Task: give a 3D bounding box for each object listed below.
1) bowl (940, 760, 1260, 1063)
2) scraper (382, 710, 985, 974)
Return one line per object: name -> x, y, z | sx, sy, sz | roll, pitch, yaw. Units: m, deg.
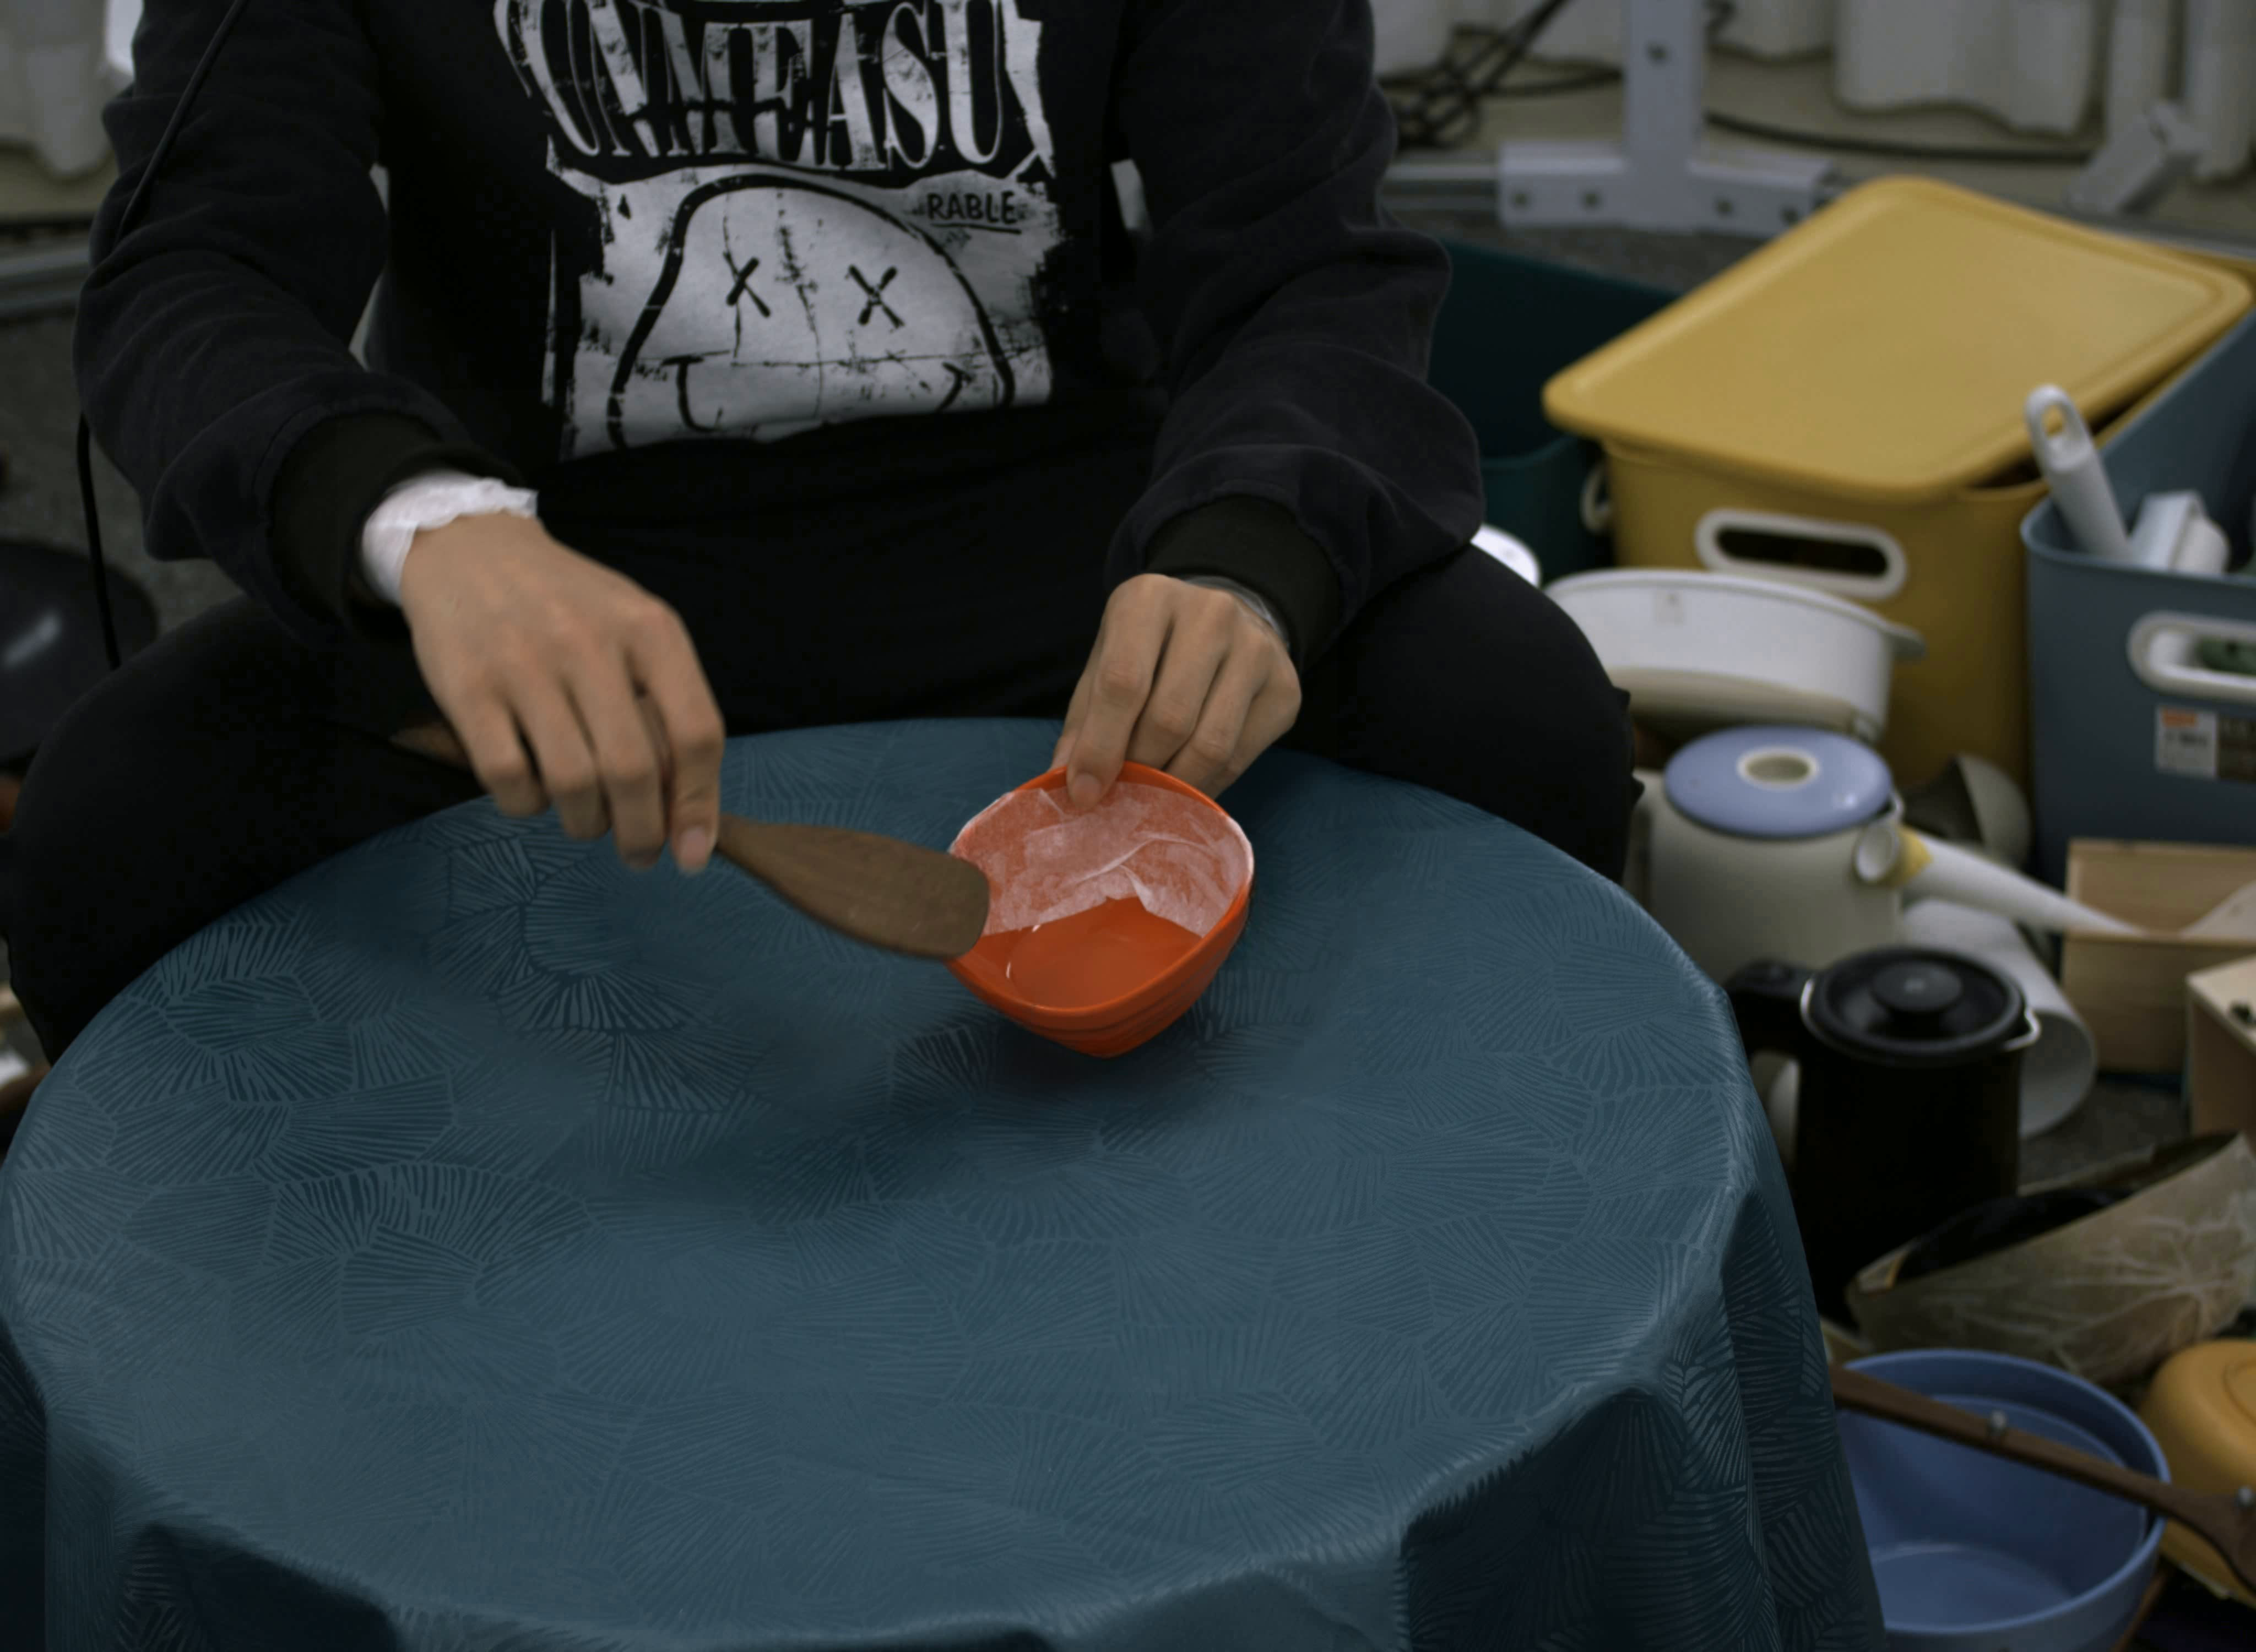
bowl -> -0.009, 0.037, 1.950 | 0.118, 0.050, 0.121 | -8, 46, 8
scraper -> -0.149, 0.002, 1.889 | 0.210, 0.010, 0.077 | 20, 27, -3
